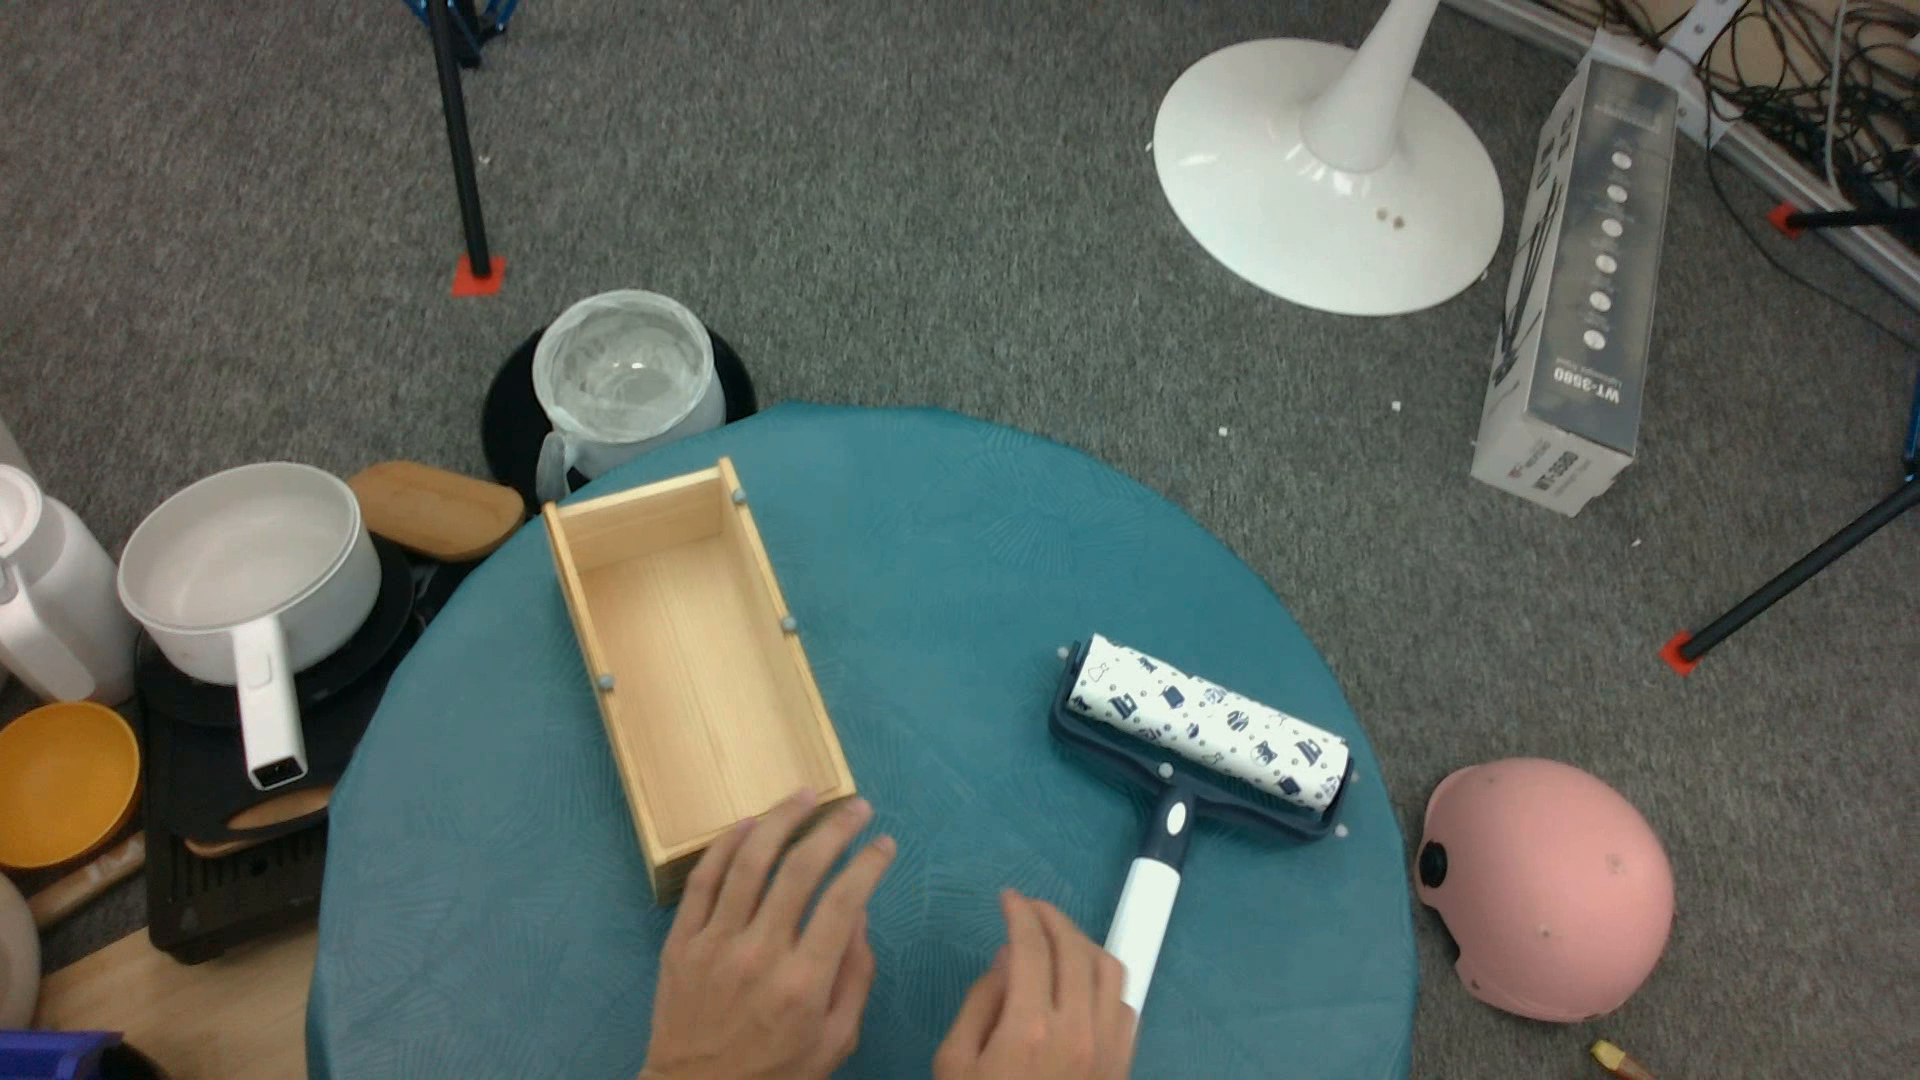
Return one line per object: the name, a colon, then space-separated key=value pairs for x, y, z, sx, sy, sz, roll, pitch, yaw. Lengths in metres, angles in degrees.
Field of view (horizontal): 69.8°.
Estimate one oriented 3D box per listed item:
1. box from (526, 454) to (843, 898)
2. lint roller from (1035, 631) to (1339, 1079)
box: x=-0.153 y=0.071 z=0.756 sx=0.108 sy=0.080 sz=0.212 roll=-17 pitch=65 yaw=-19
lint roller: x=0.101 y=0.185 z=0.759 sx=0.176 sy=0.050 sz=0.248 roll=22 pitch=60 yaw=2
